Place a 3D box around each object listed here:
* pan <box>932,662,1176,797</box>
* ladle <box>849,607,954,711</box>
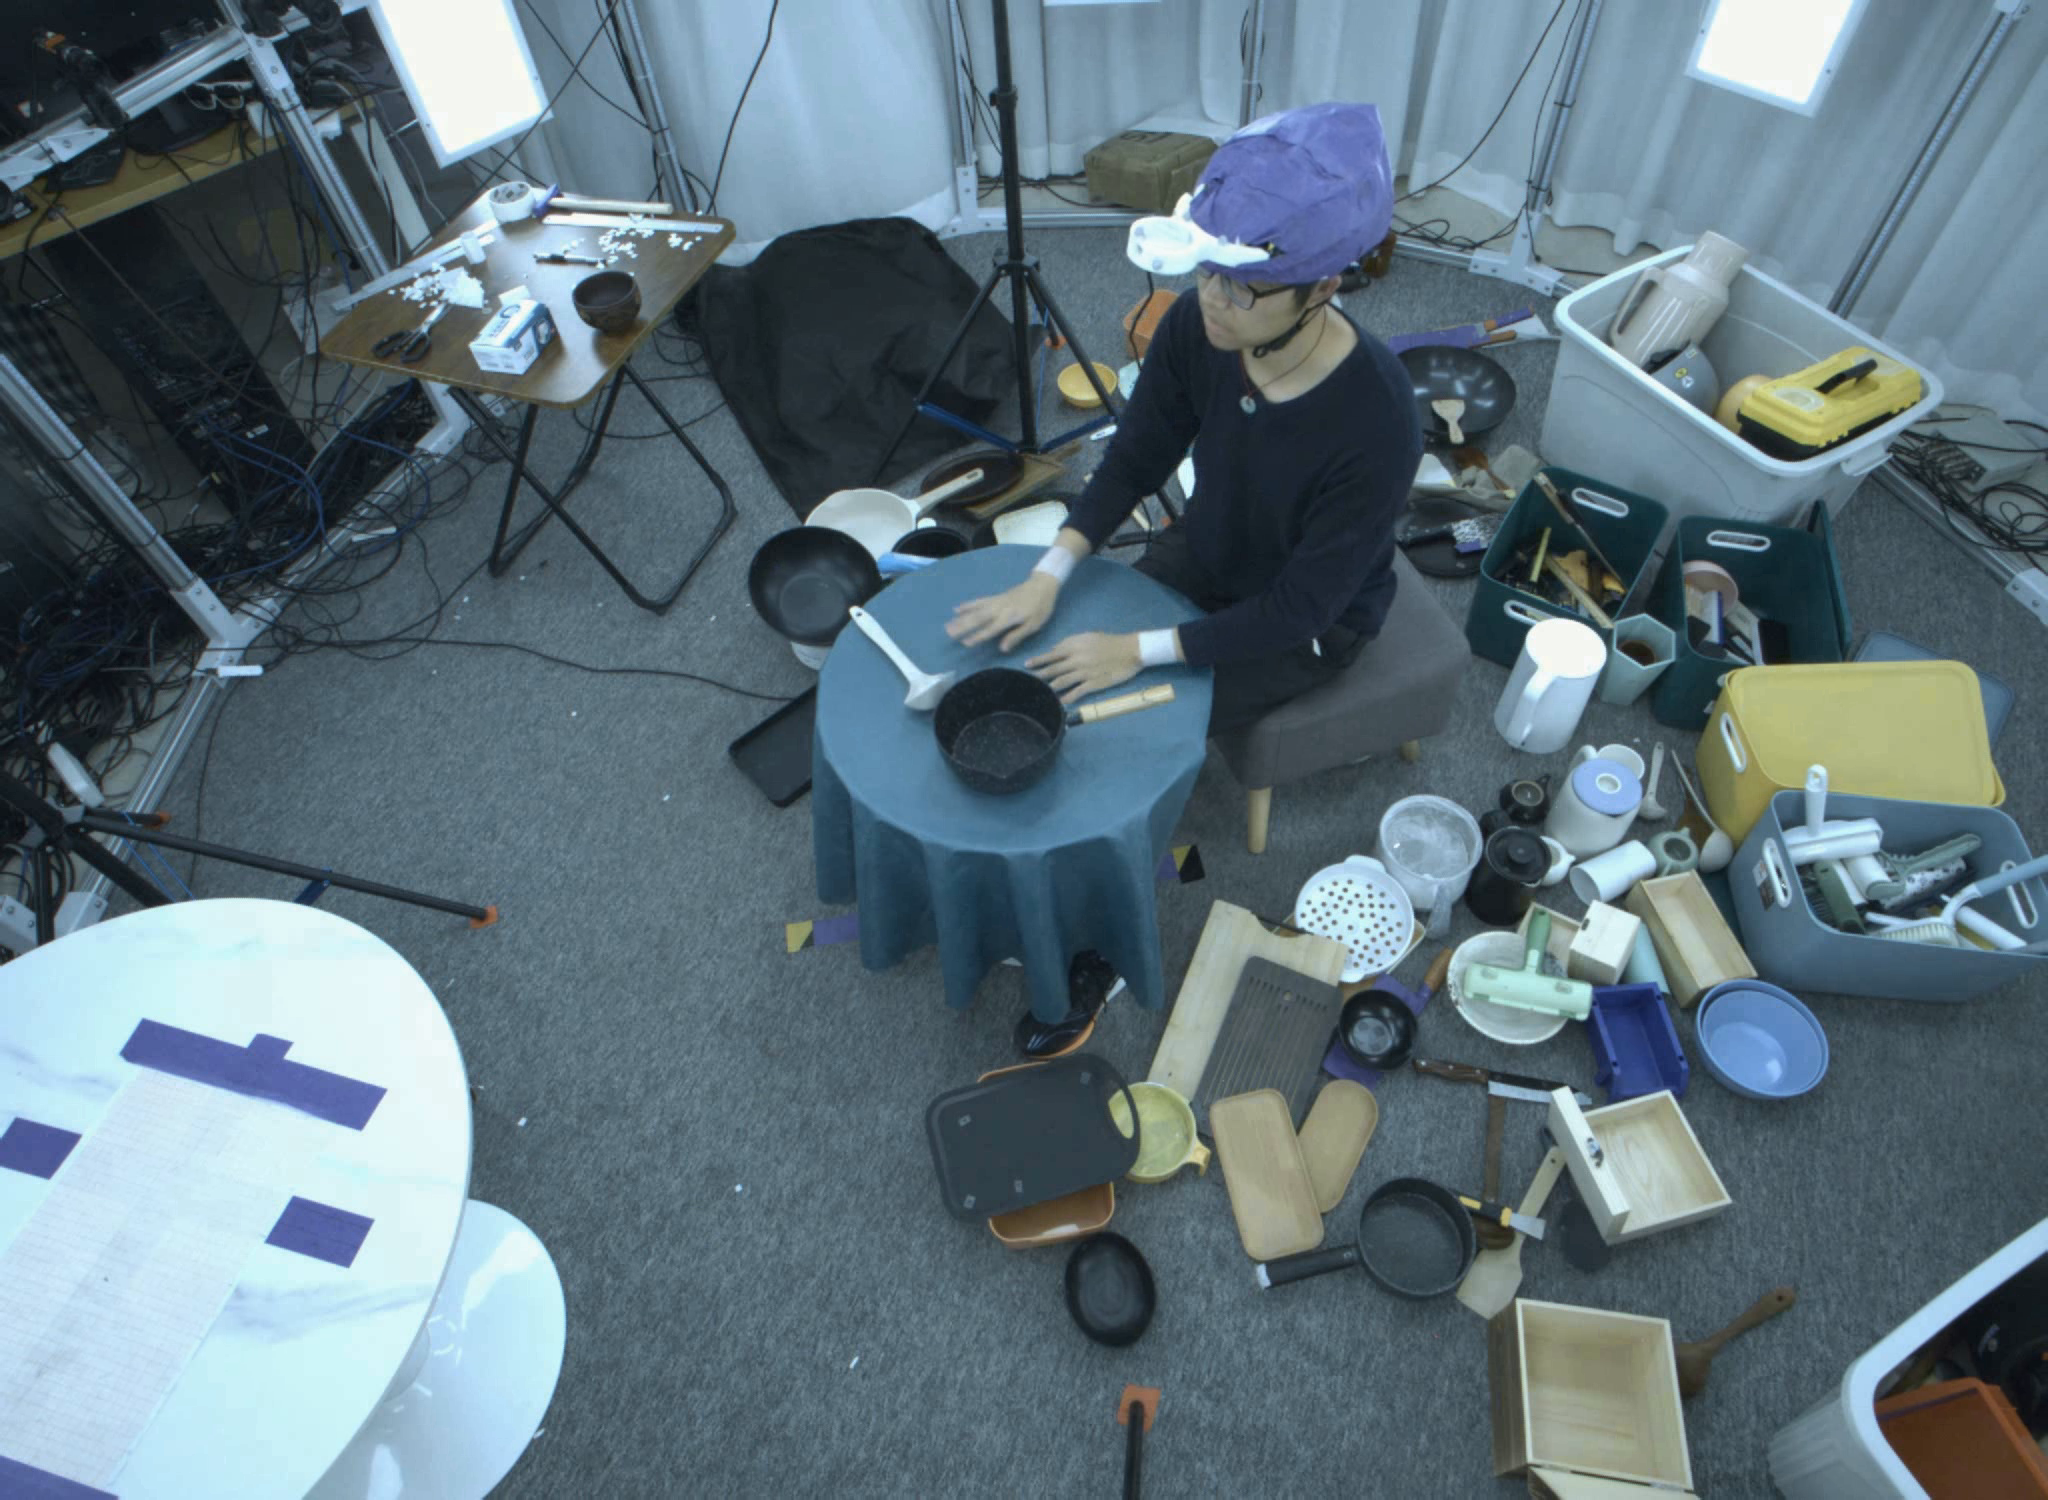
[{"bbox_3d":[0.044,-0.036,1.745,0.343,0.109,0.204,-8,54,-2],"label":"pan"},{"bbox_3d":[-0.204,-0.157,1.866,0.089,0.070,0.269,-39,60,-8],"label":"ladle"}]
